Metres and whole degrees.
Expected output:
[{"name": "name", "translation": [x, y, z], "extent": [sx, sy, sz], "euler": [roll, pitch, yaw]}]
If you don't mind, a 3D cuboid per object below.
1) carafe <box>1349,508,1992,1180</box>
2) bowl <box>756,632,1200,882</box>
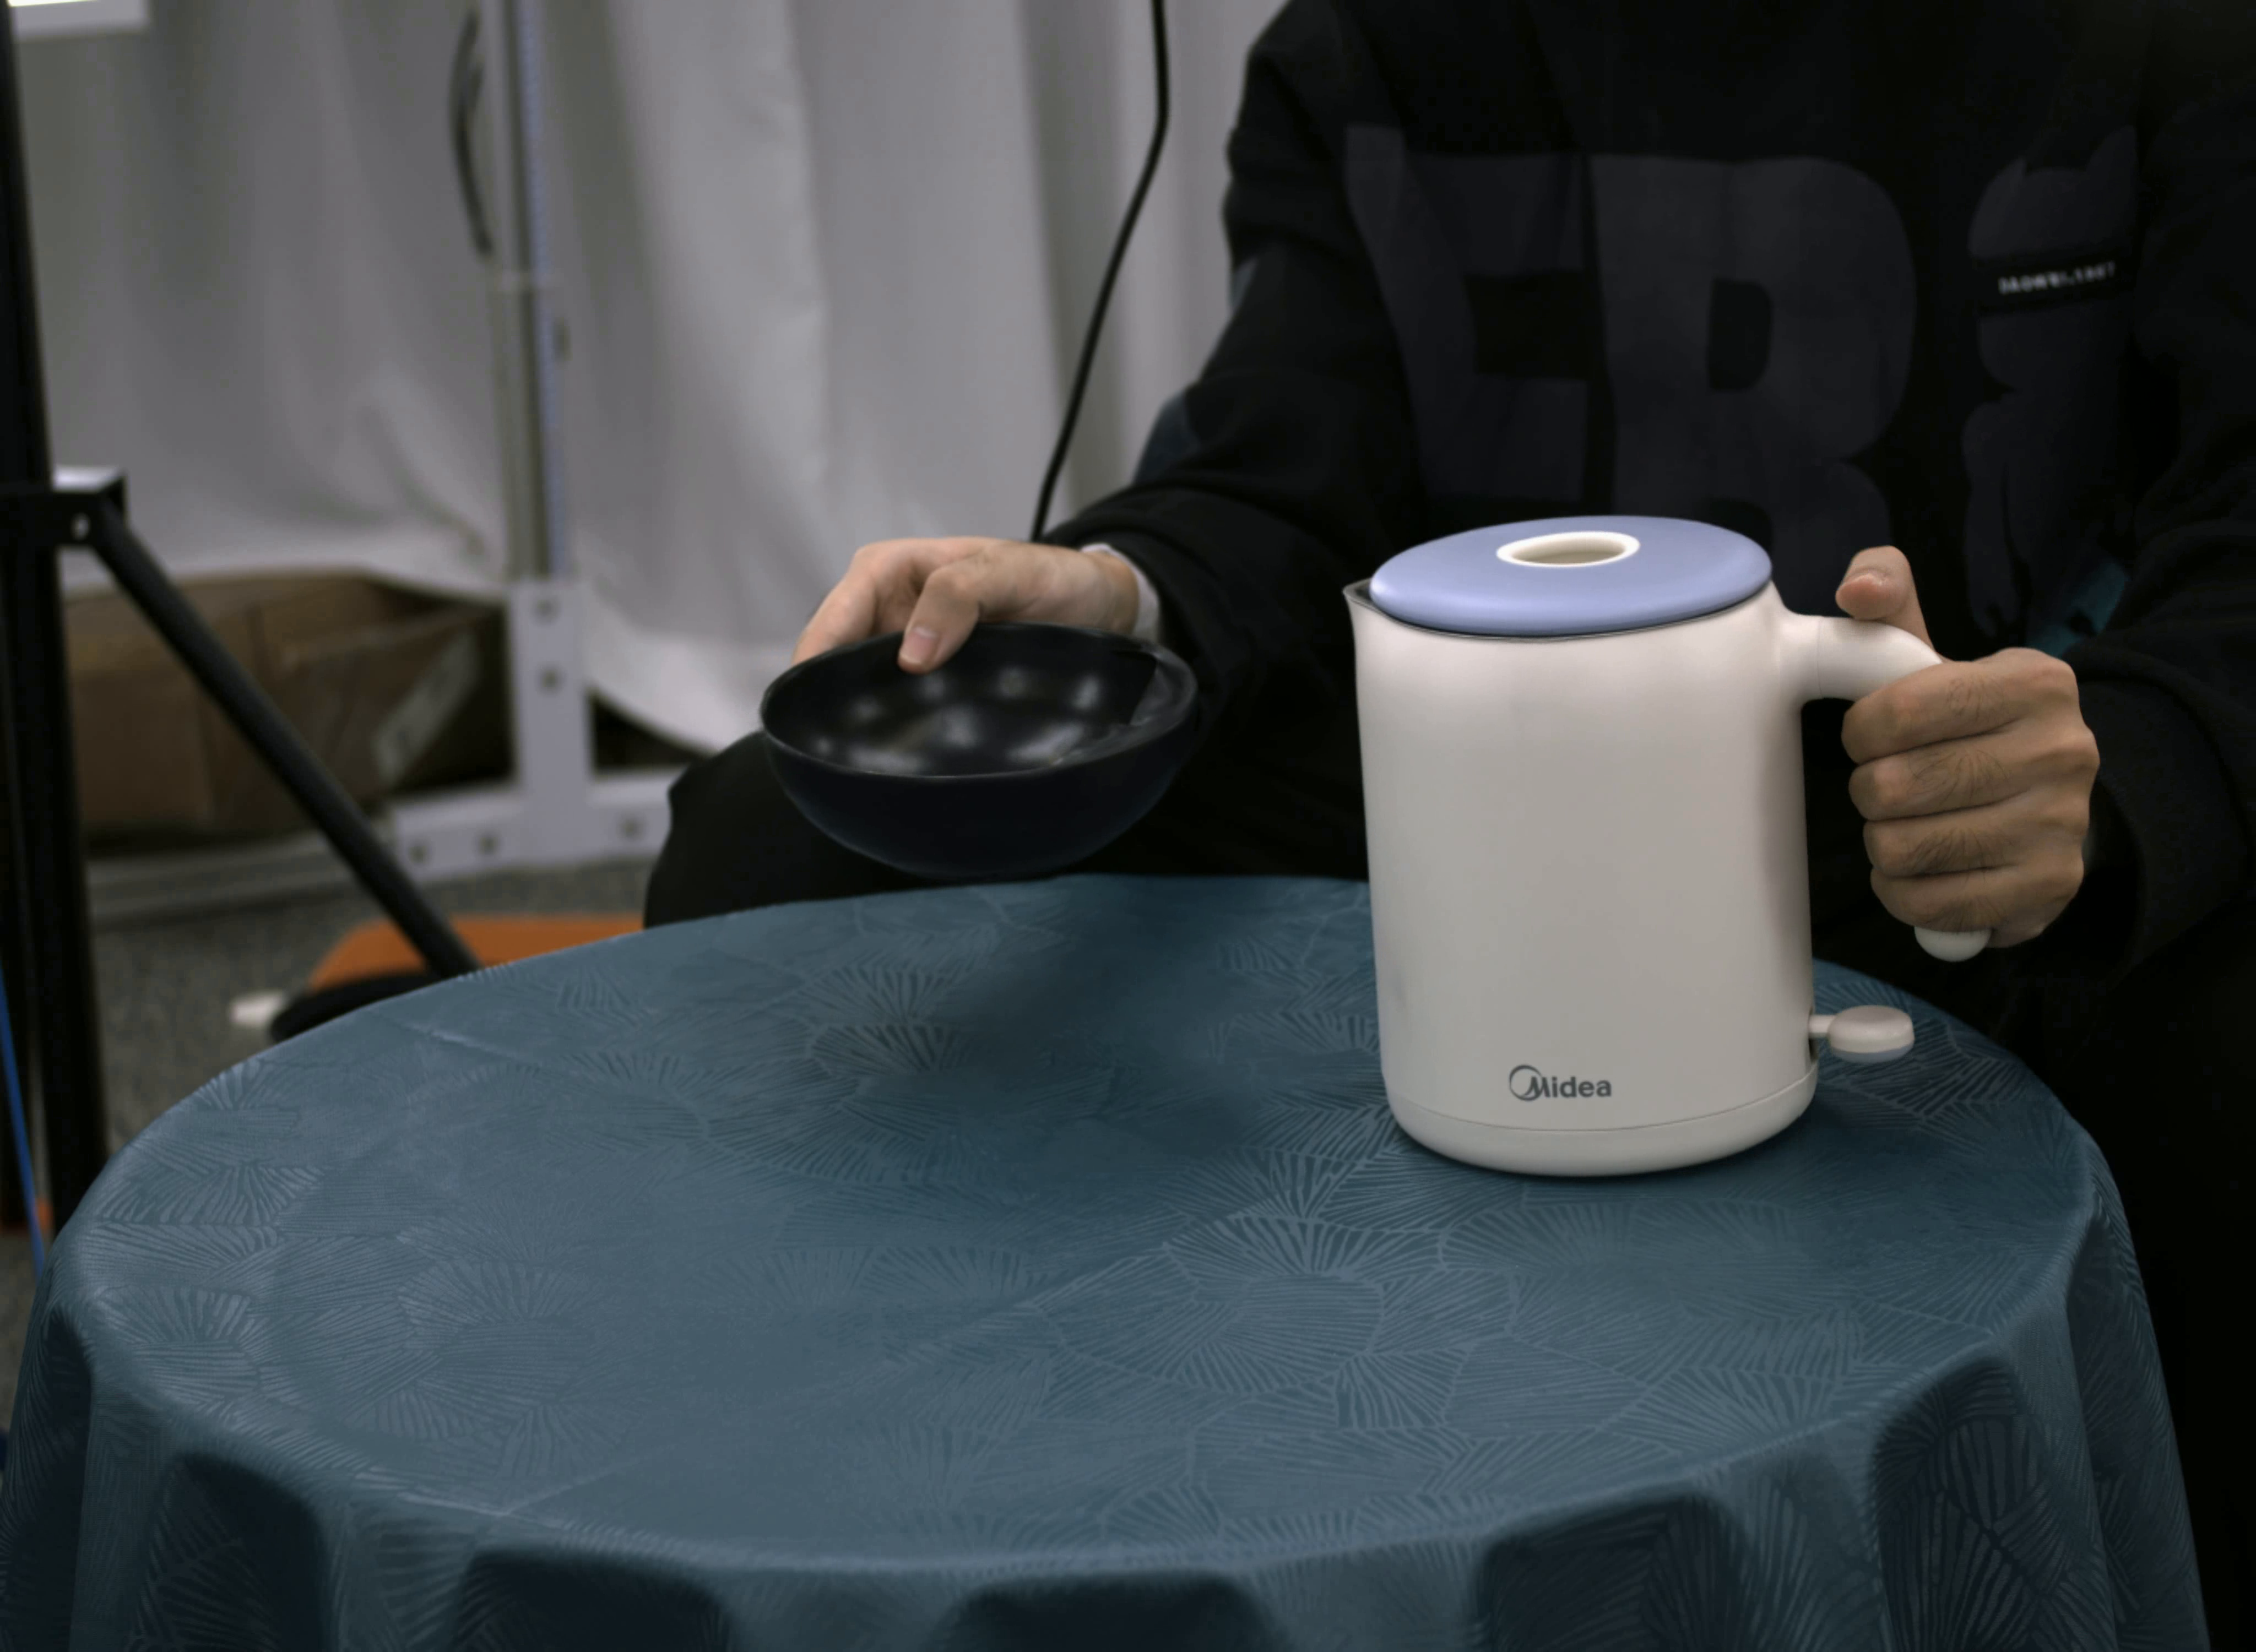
[{"name": "carafe", "translation": [0.160, 0.006, 1.571], "extent": [0.192, 0.182, 0.131], "euler": [2, 18, 14]}, {"name": "bowl", "translation": [-0.046, -0.017, 1.664], "extent": [0.139, 0.050, 0.141], "euler": [-4, 19, 0]}]
